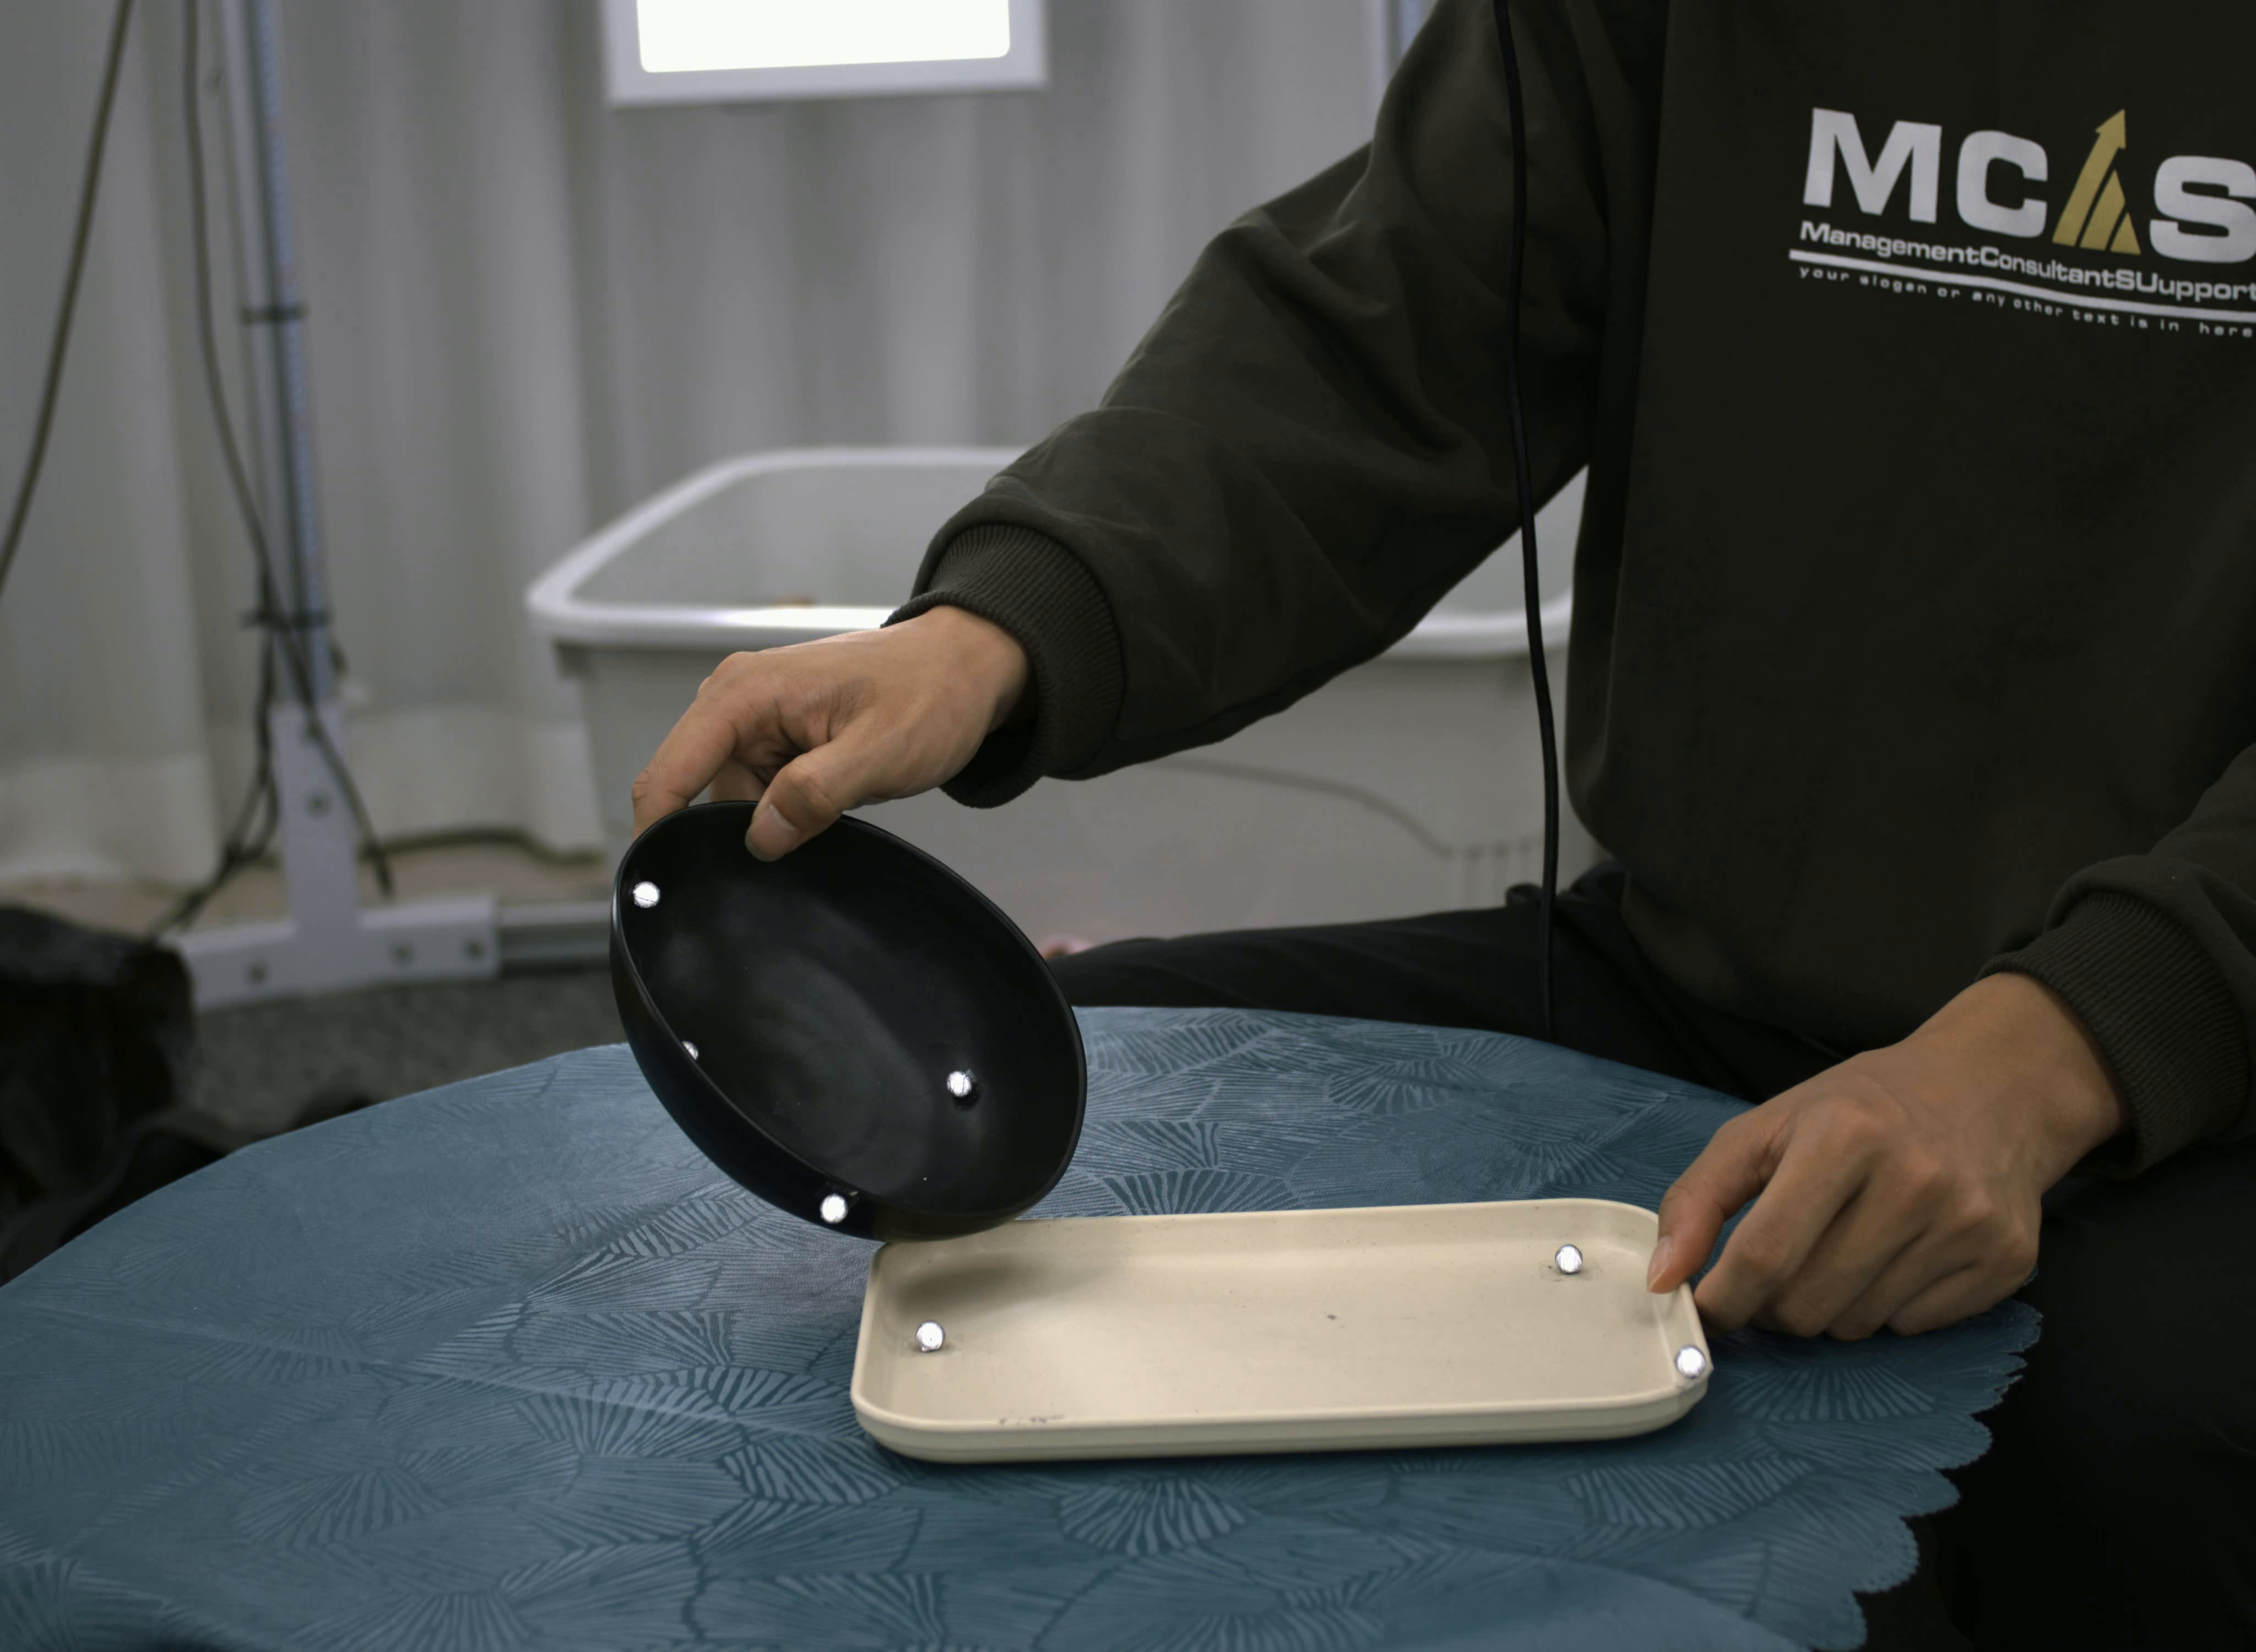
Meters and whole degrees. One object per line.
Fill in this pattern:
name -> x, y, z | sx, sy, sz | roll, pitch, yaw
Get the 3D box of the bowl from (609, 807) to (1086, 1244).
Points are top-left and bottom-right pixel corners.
bowl -> -0.095, 0.069, 1.657 | 0.137, 0.066, 0.172 | -23, 62, -44

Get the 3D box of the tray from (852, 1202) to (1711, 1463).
tray -> 0.042, 0.145, 1.564 | 0.239, 0.017, 0.172 | -2, 14, 1
